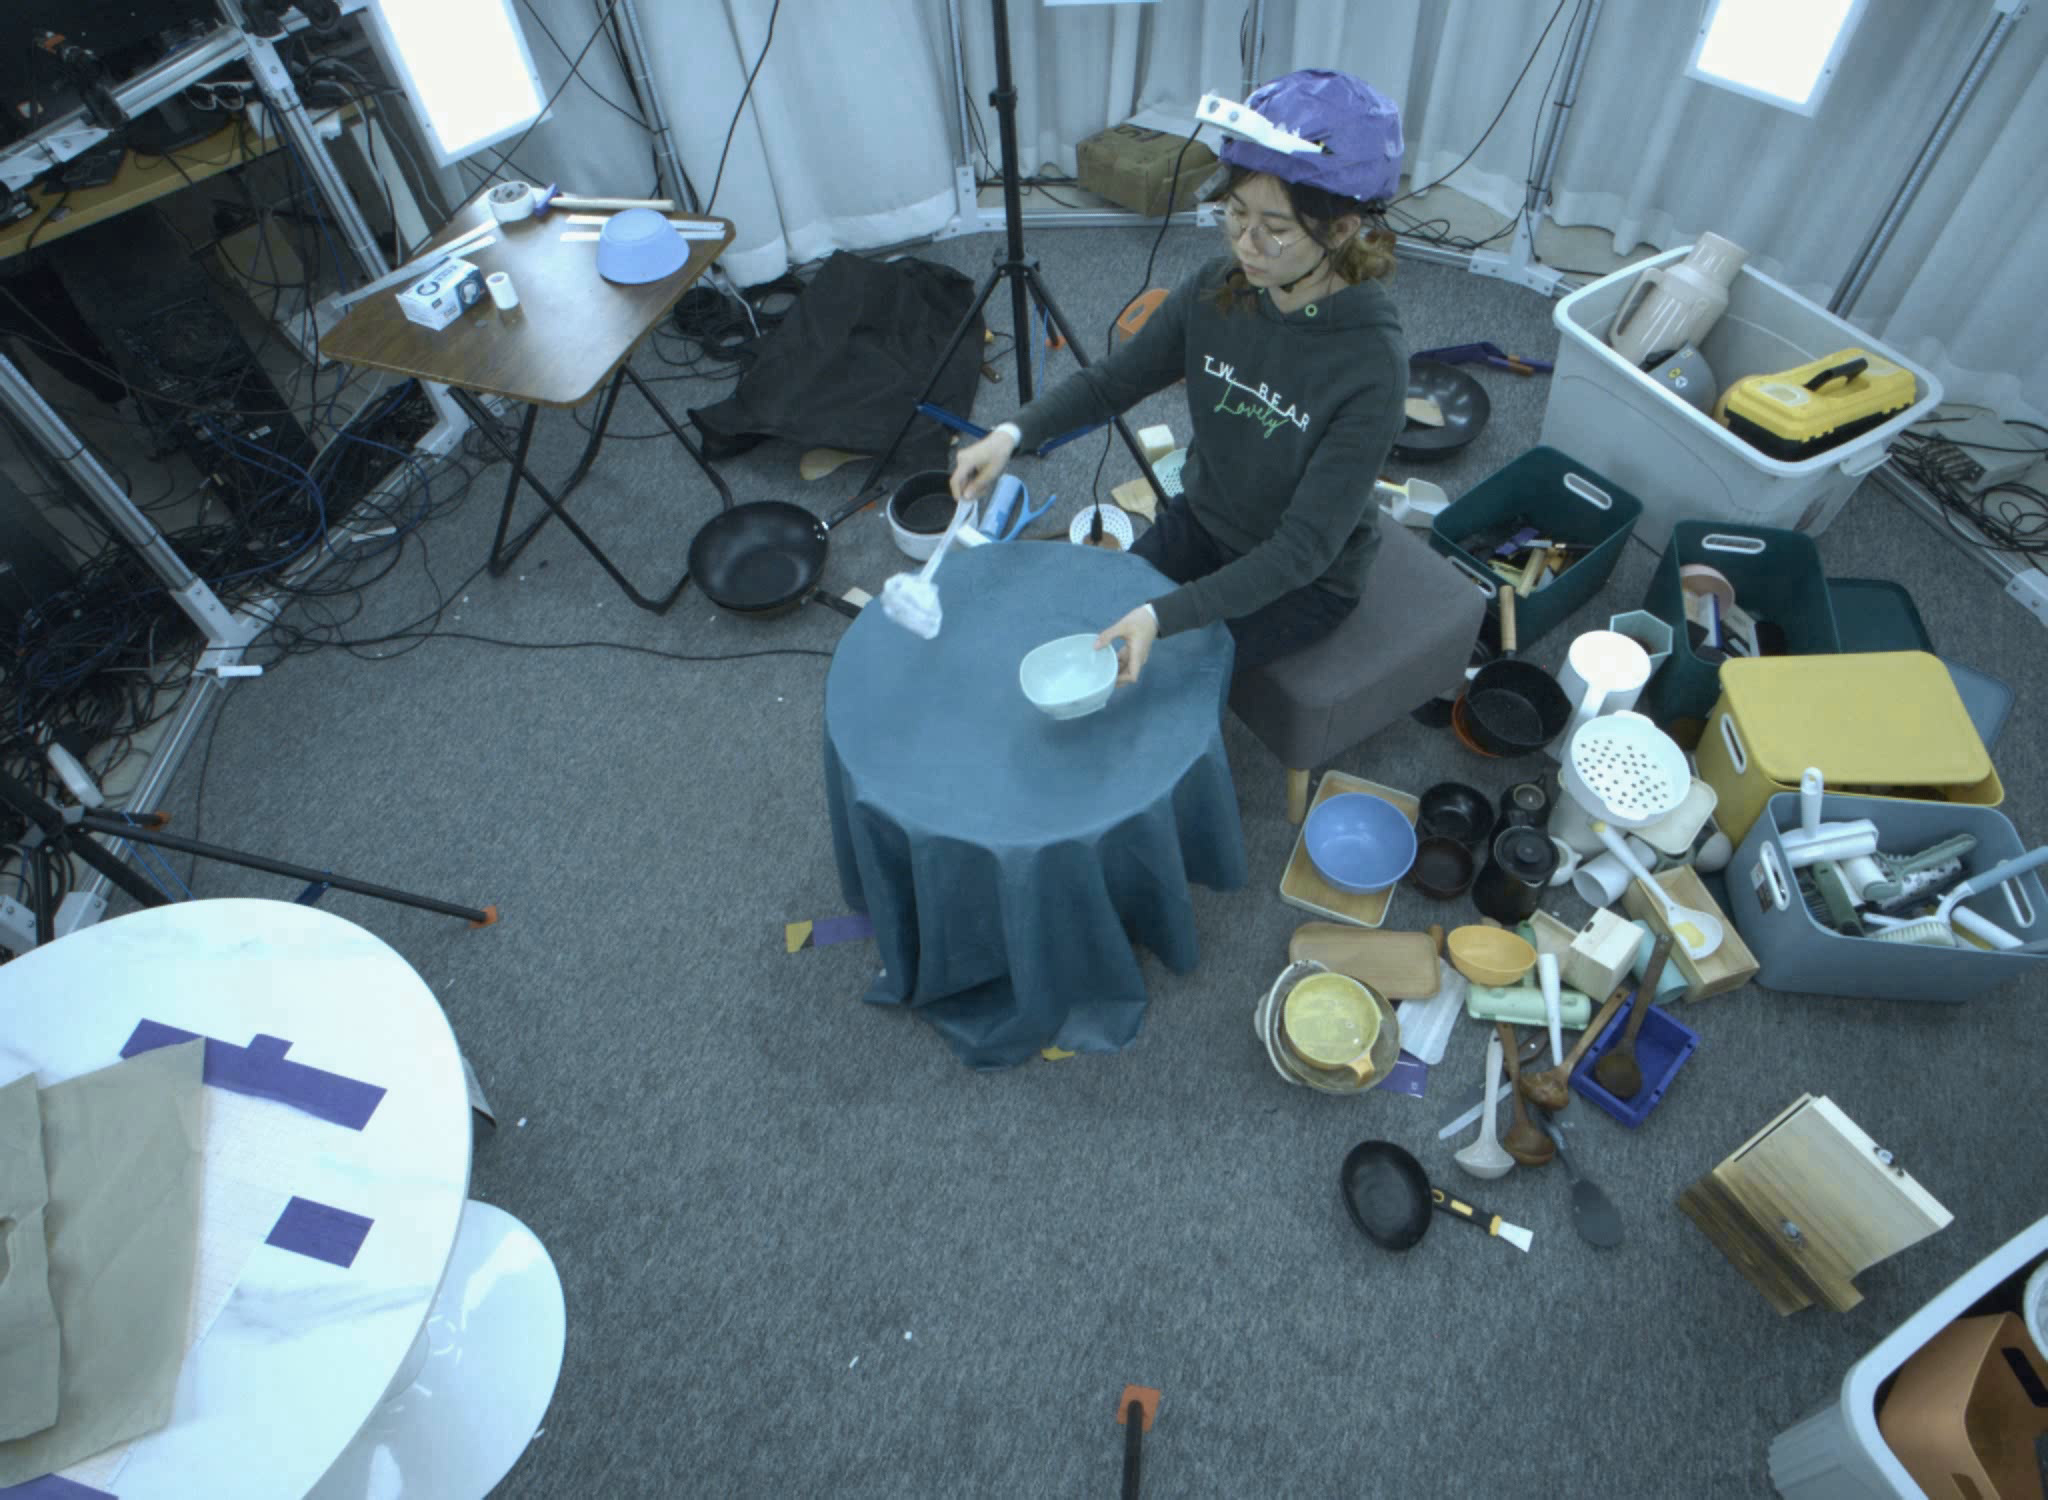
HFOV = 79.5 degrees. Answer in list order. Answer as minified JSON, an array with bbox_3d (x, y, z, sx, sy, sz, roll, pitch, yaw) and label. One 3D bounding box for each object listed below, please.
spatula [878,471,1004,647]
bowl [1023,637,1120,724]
[{"bbox_3d":[-0.108,-0.304,1.822,0.100,0.044,0.365,34,64,-15],"label":"spatula"},{"bbox_3d":[0.072,-0.090,1.757,0.150,0.059,0.150,-8,47,10],"label":"bowl"}]
